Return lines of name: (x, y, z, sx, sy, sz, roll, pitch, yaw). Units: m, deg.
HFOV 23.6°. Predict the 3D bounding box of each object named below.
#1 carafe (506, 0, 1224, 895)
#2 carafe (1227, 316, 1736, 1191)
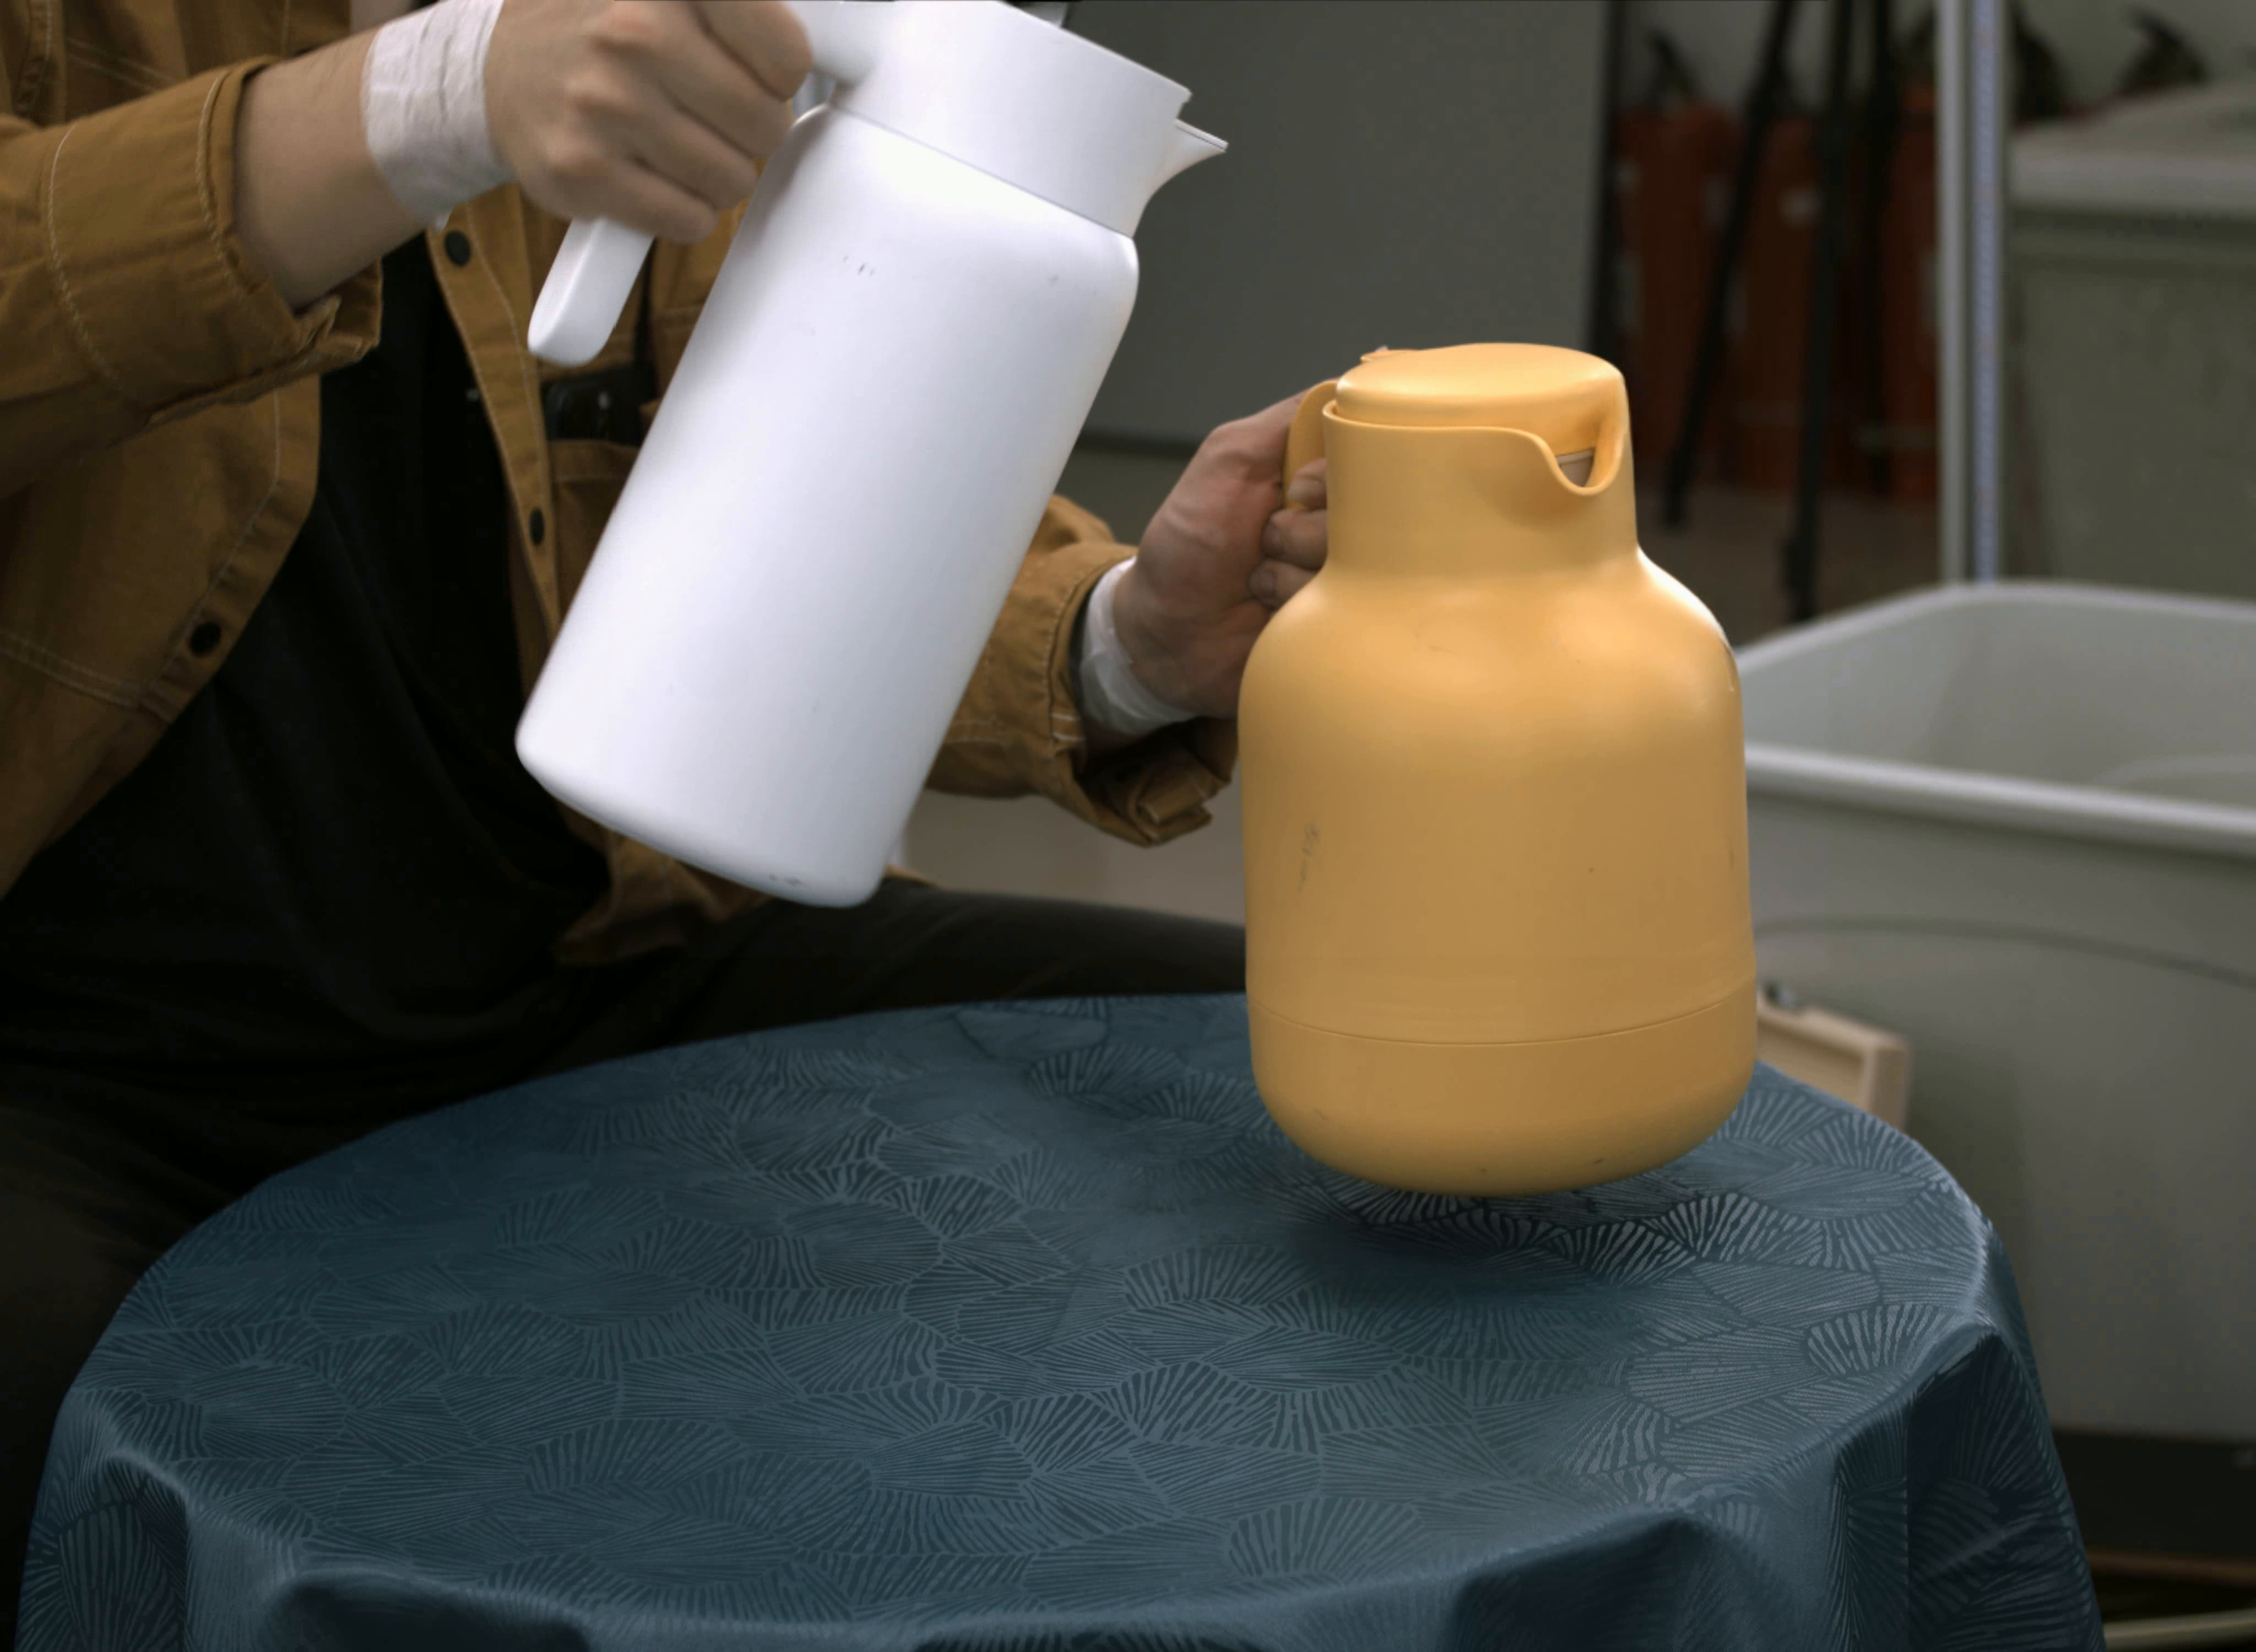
carafe: (-0.094, -0.128, 1.584, 0.169, 0.271, 0.125, 22, 7, -22)
carafe: (0.105, -0.031, 1.714, 0.160, 0.263, 0.204, -5, 14, -20)
